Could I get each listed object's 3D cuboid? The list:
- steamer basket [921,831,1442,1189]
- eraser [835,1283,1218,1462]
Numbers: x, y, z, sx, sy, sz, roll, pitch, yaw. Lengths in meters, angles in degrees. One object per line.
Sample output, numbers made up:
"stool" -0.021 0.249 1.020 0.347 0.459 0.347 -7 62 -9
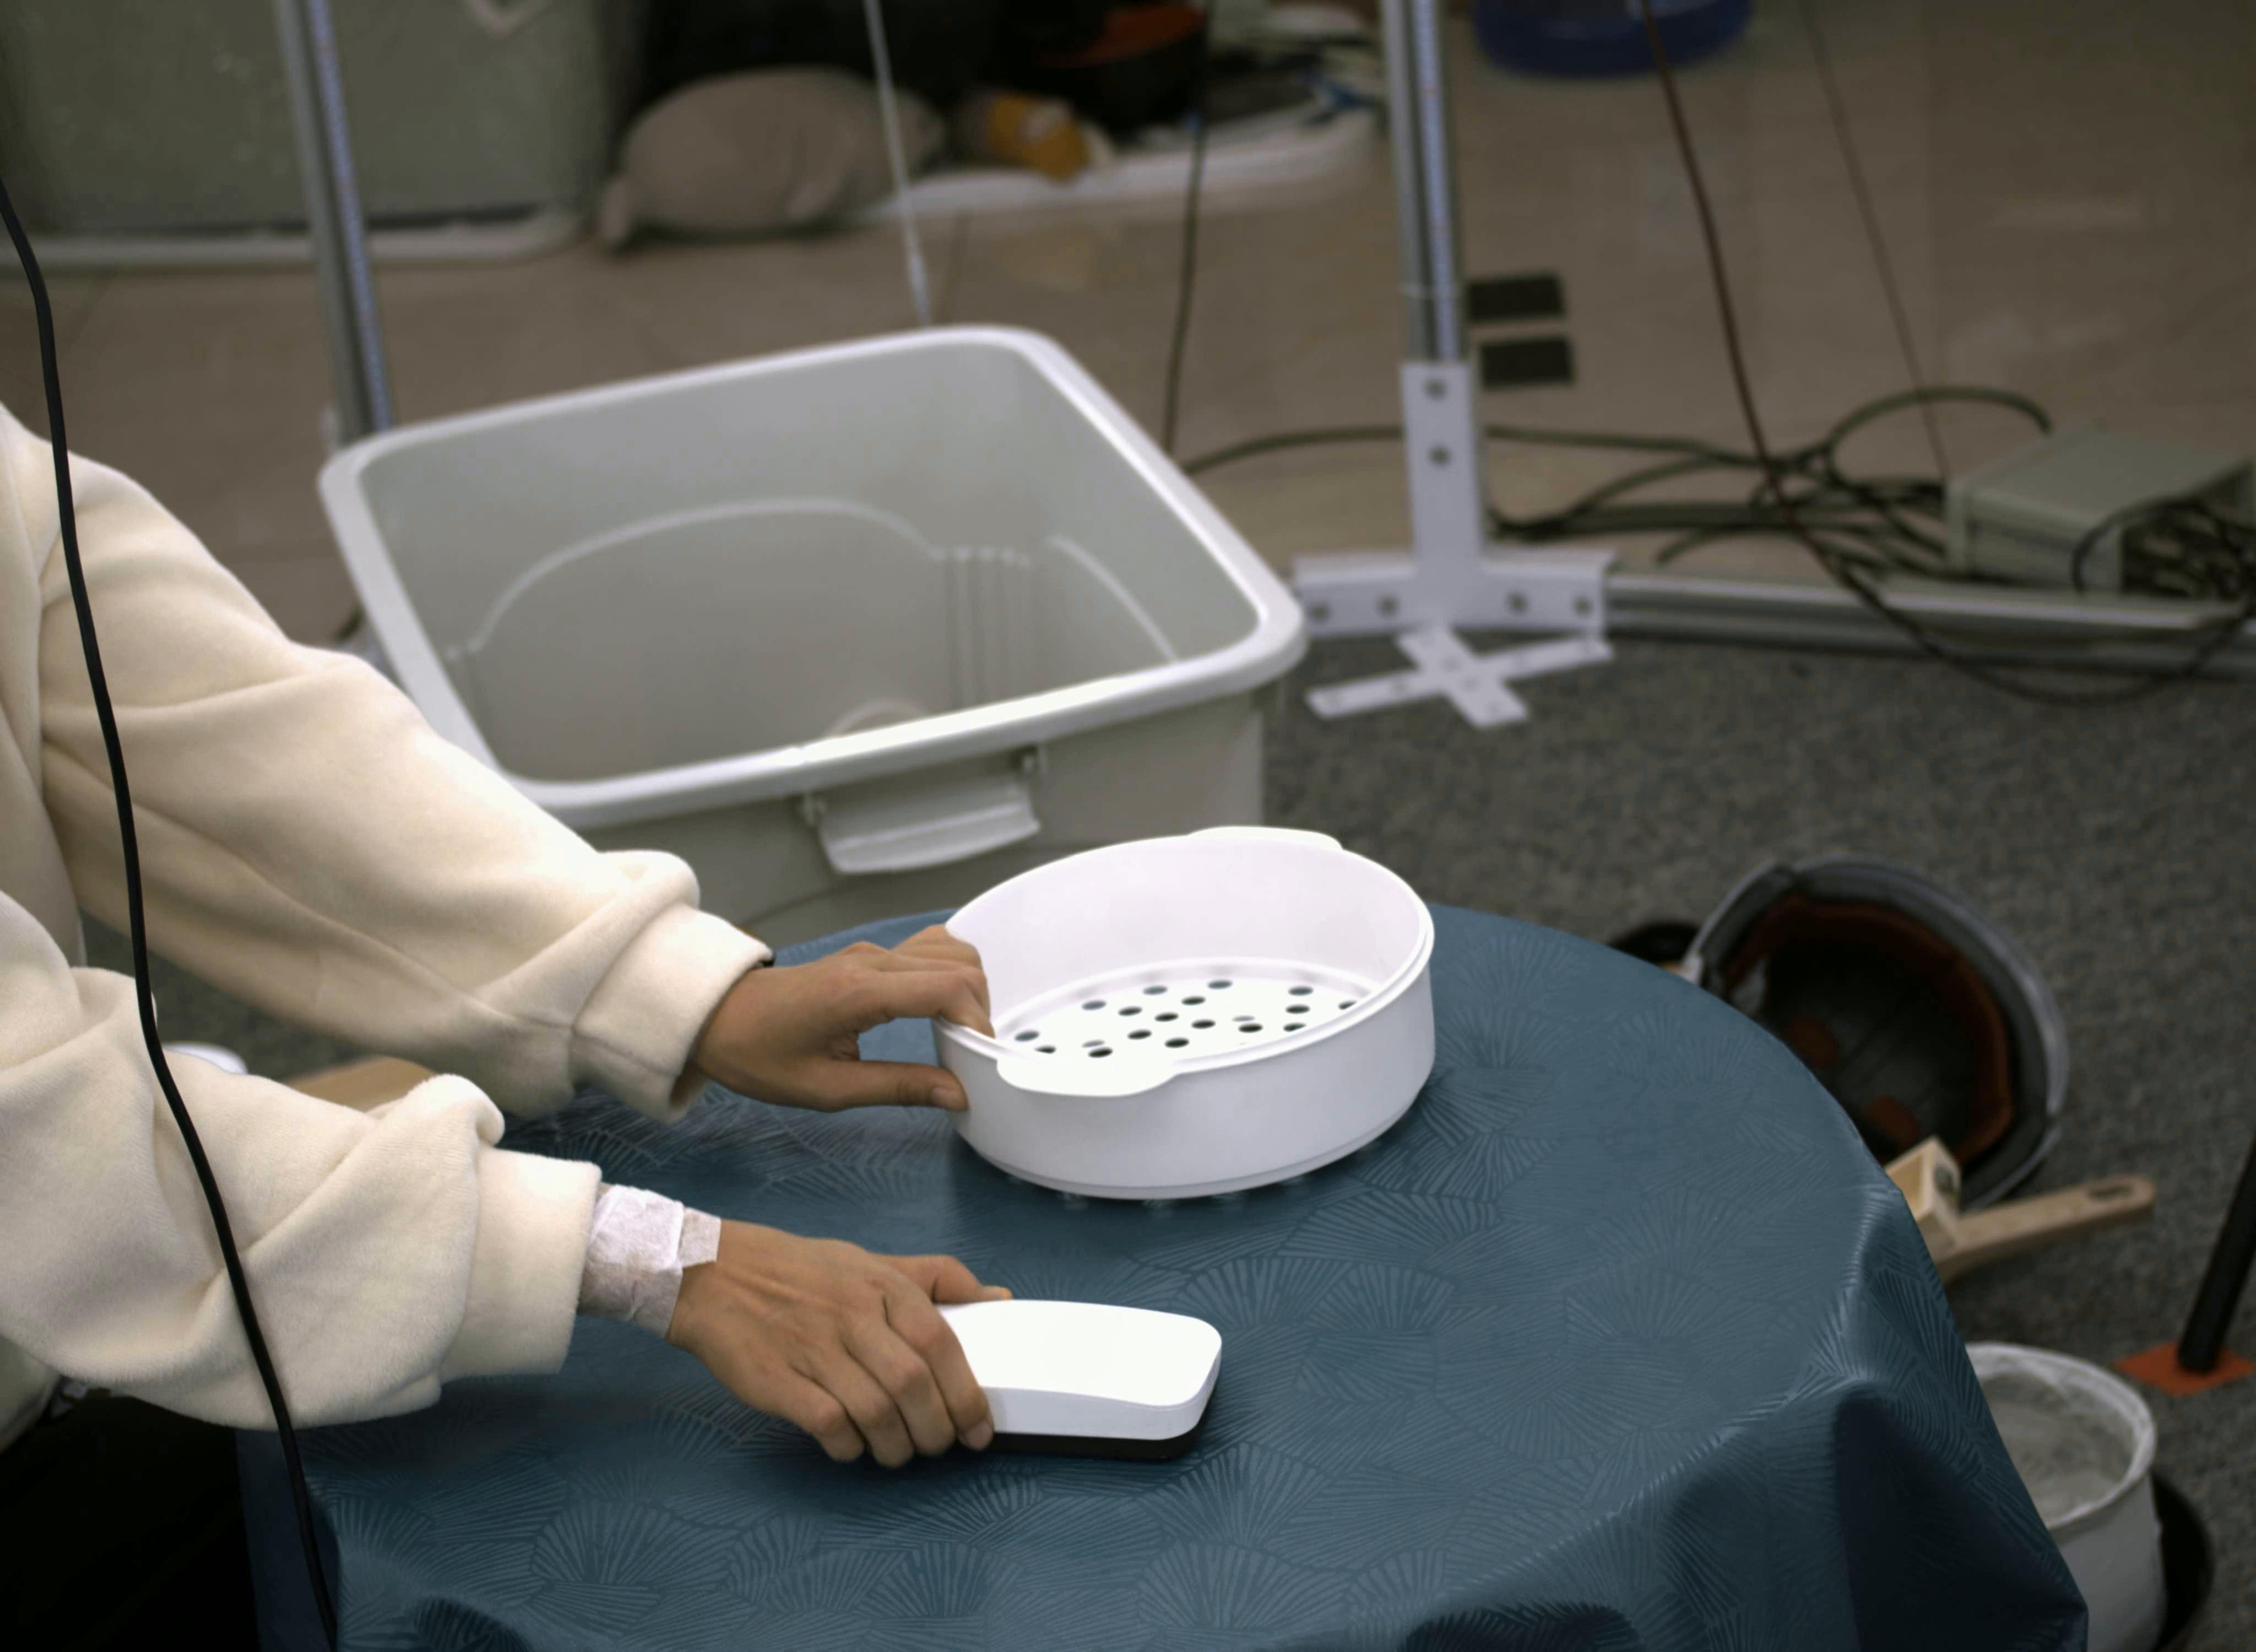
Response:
"steamer basket" 0.023 0.073 2.202 0.201 0.070 0.227 3 25 21
"eraser" -0.035 0.192 2.000 0.131 0.035 0.062 4 26 16
